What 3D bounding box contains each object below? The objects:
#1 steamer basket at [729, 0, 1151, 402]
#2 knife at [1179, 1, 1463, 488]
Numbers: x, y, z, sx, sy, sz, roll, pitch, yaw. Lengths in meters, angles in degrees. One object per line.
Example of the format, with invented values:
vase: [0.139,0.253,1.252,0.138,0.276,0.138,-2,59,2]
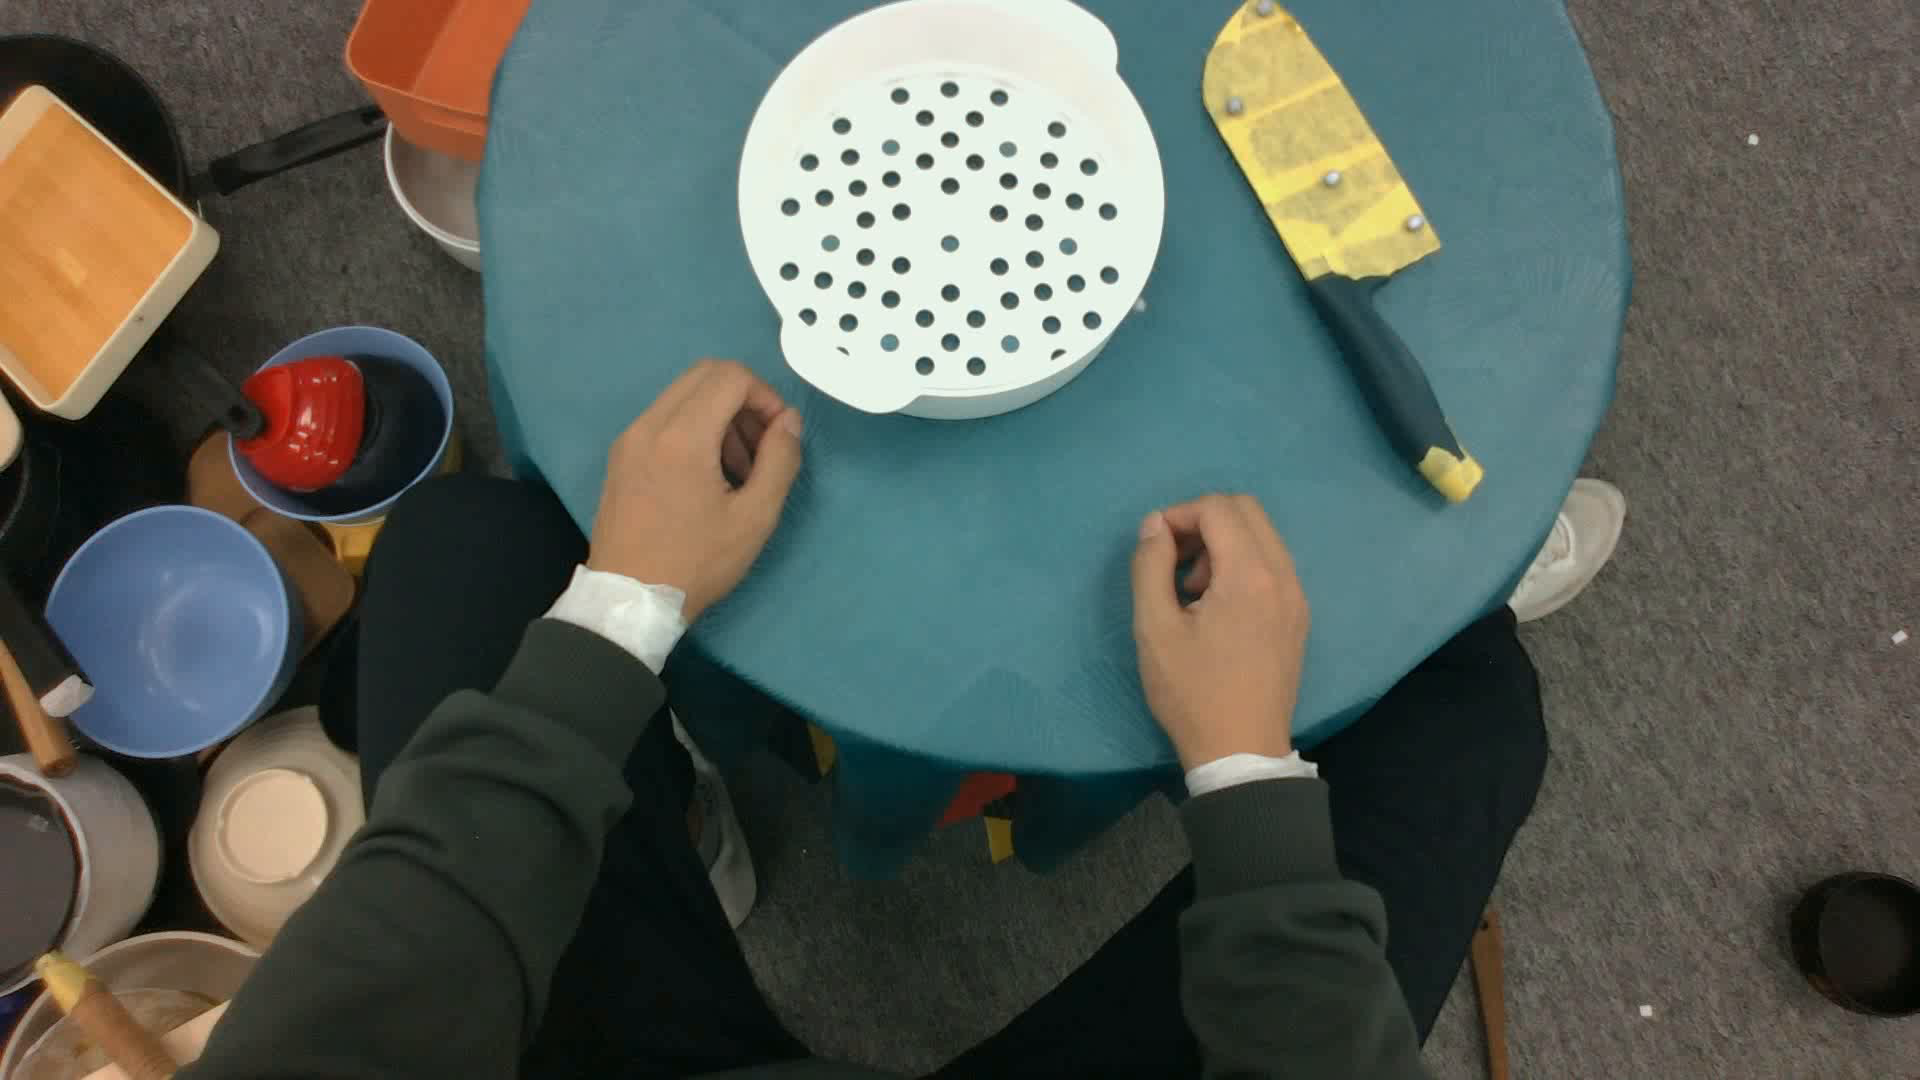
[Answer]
steamer basket: [-0.010,-0.168,0.683,0.202,0.069,0.231,30,80,4]
knife: [0.195,-0.162,0.719,0.081,0.027,0.290,-23,80,-6]
